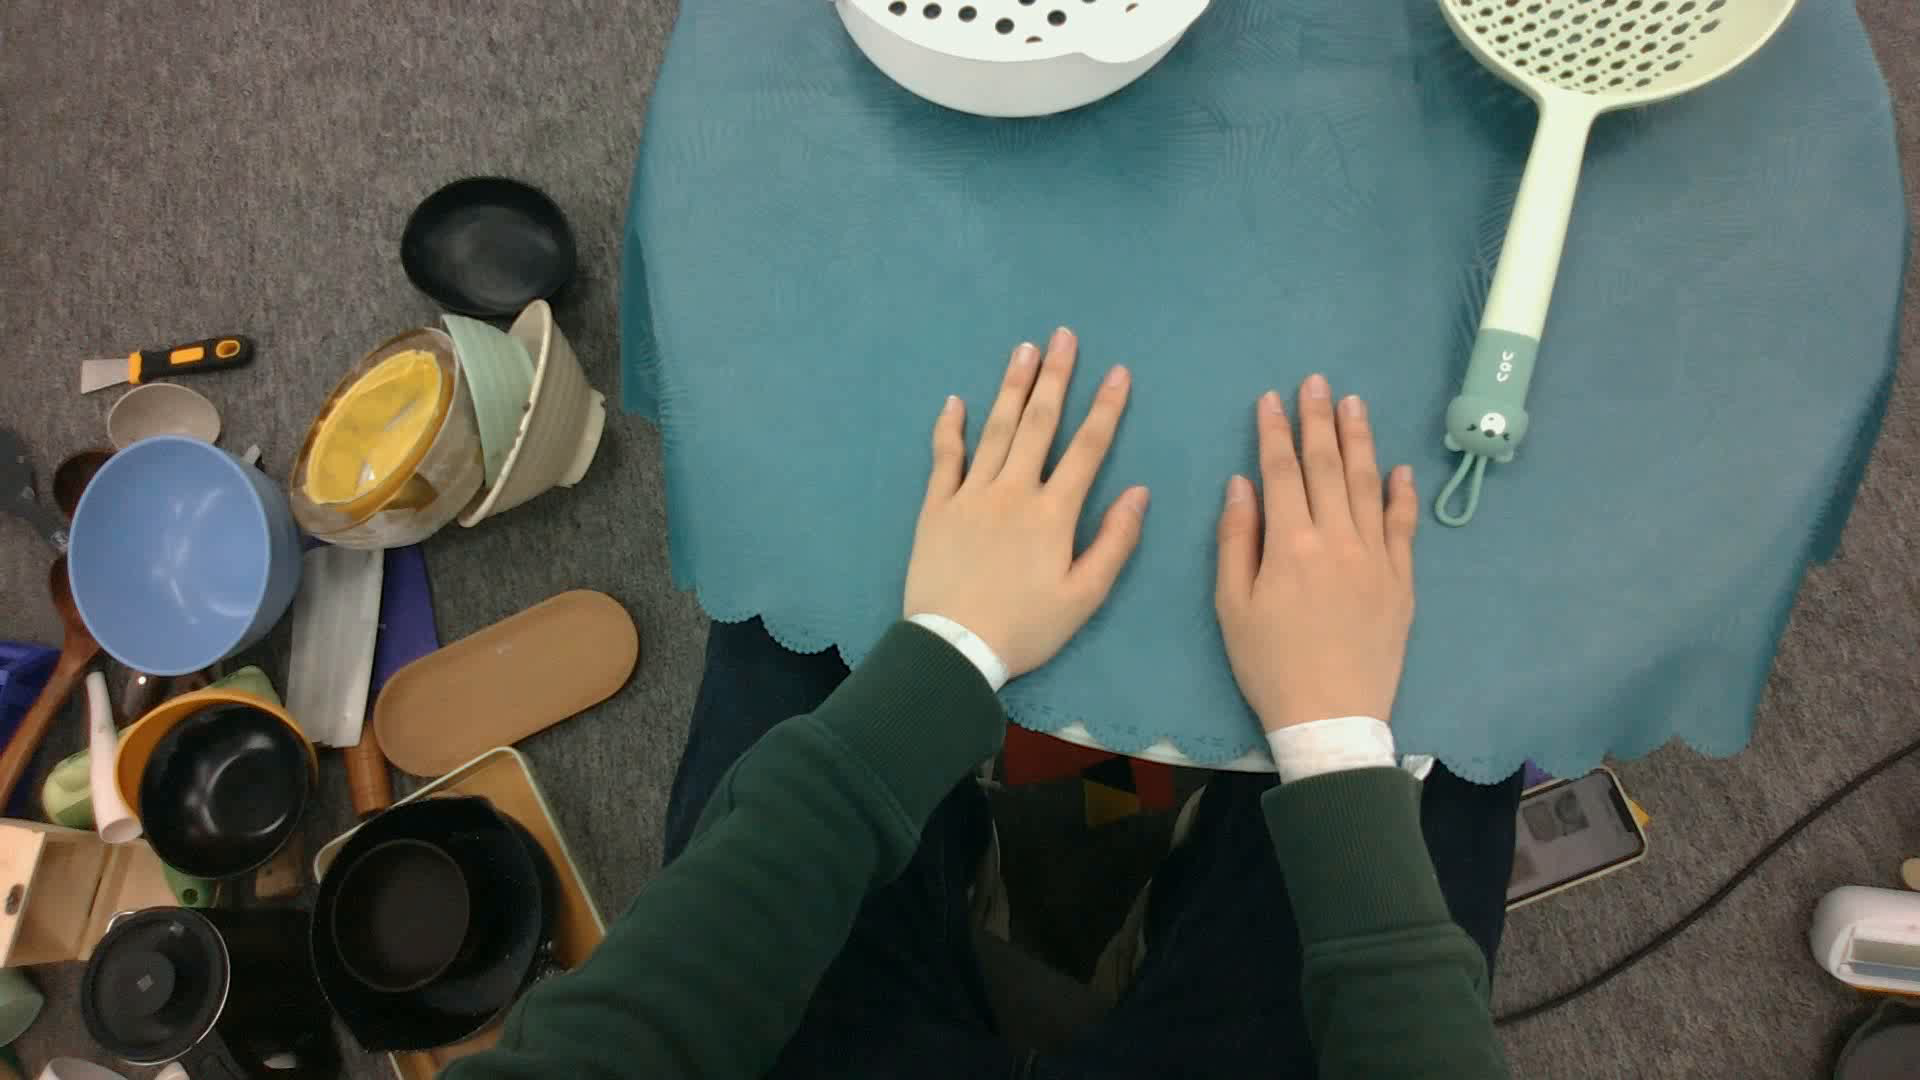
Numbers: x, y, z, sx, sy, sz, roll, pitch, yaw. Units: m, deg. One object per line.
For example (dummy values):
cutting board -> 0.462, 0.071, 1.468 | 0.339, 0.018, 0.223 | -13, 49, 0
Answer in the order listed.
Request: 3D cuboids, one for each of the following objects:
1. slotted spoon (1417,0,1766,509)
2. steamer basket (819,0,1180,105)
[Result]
slotted spoon -> 0.262, -0.190, 0.625 | 0.169, 0.075, 0.359 | 15, 76, 8
steamer basket -> 0.018, -0.311, 0.676 | 0.202, 0.069, 0.231 | -39, 76, -6
